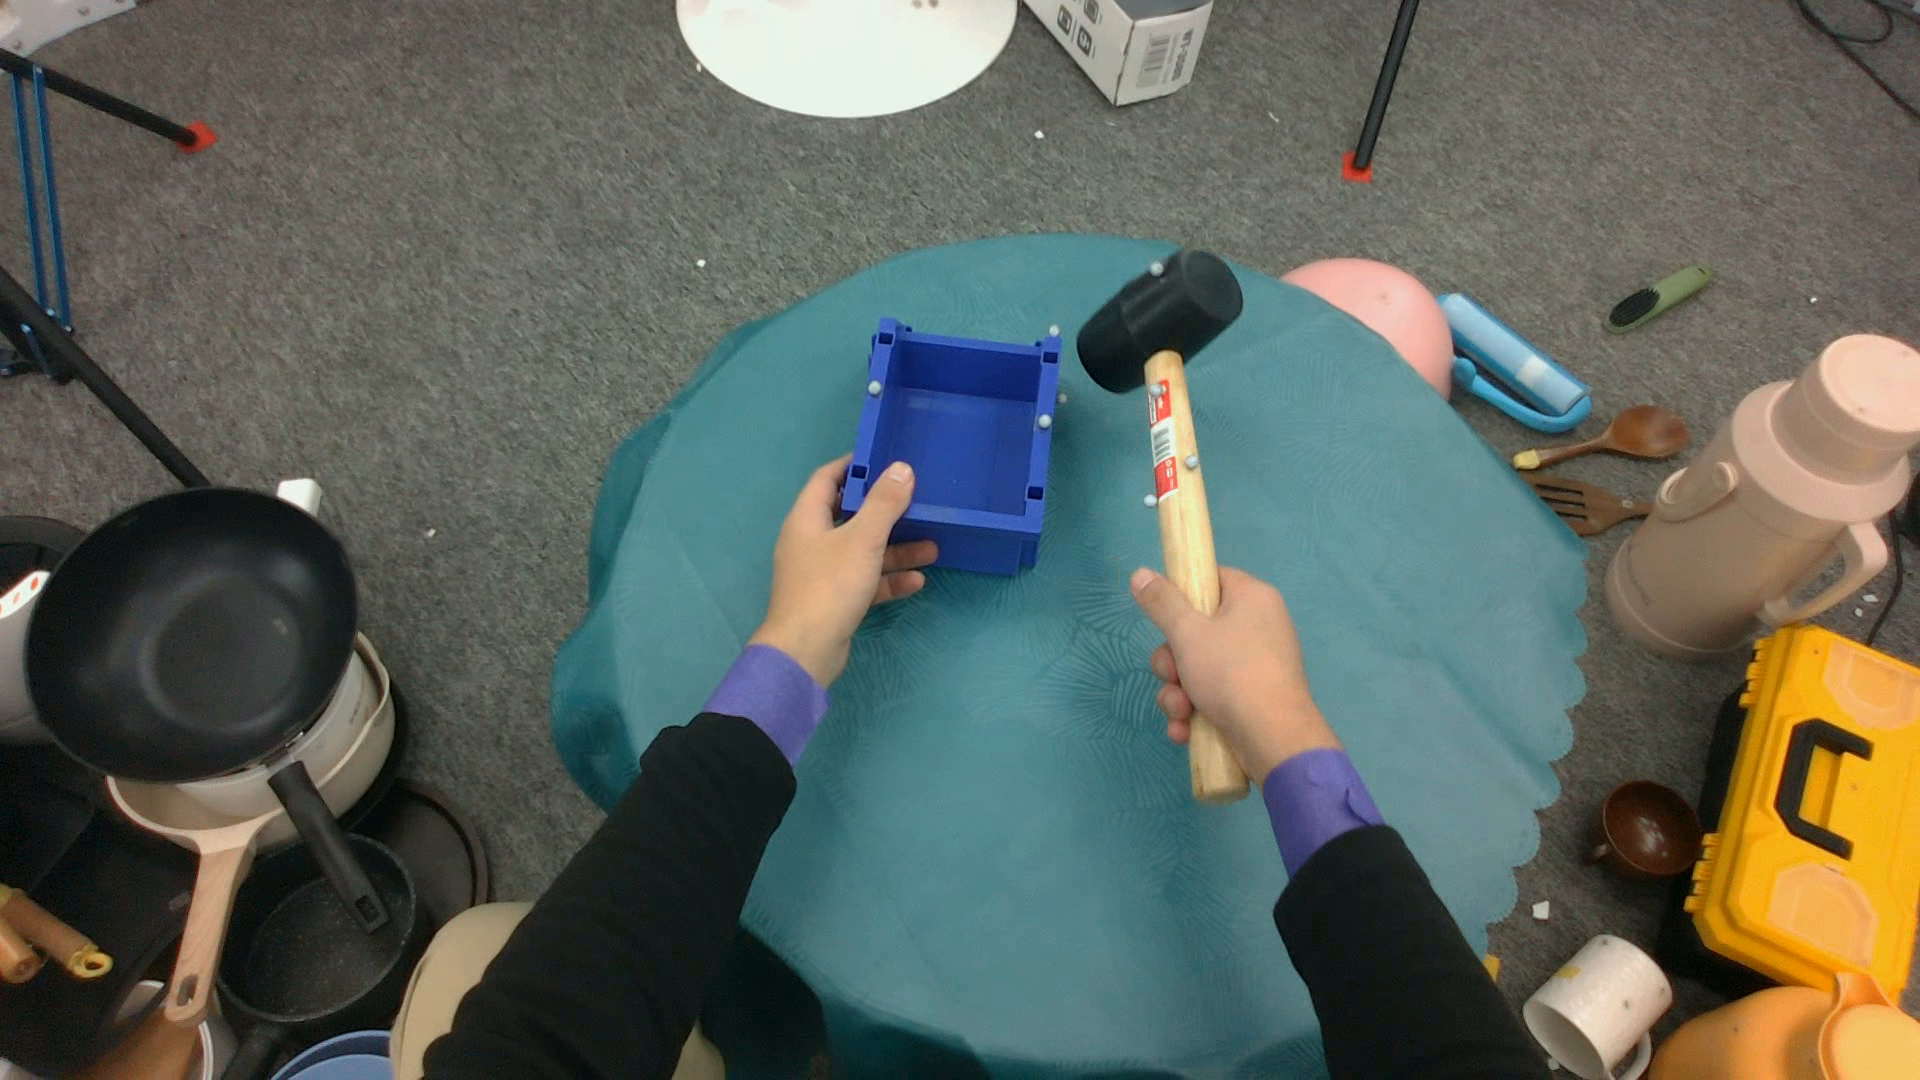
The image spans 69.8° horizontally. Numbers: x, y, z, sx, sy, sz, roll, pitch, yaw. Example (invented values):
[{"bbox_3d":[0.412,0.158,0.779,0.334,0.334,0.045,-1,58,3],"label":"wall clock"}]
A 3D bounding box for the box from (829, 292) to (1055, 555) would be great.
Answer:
[{"bbox_3d":[-0.009,-0.083,0.892,0.124,0.081,0.180,8,62,3],"label":"box"}]

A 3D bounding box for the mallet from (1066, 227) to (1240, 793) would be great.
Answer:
[{"bbox_3d":[0.118,-0.024,0.798,0.064,0.101,0.340,15,59,-28],"label":"mallet"}]
